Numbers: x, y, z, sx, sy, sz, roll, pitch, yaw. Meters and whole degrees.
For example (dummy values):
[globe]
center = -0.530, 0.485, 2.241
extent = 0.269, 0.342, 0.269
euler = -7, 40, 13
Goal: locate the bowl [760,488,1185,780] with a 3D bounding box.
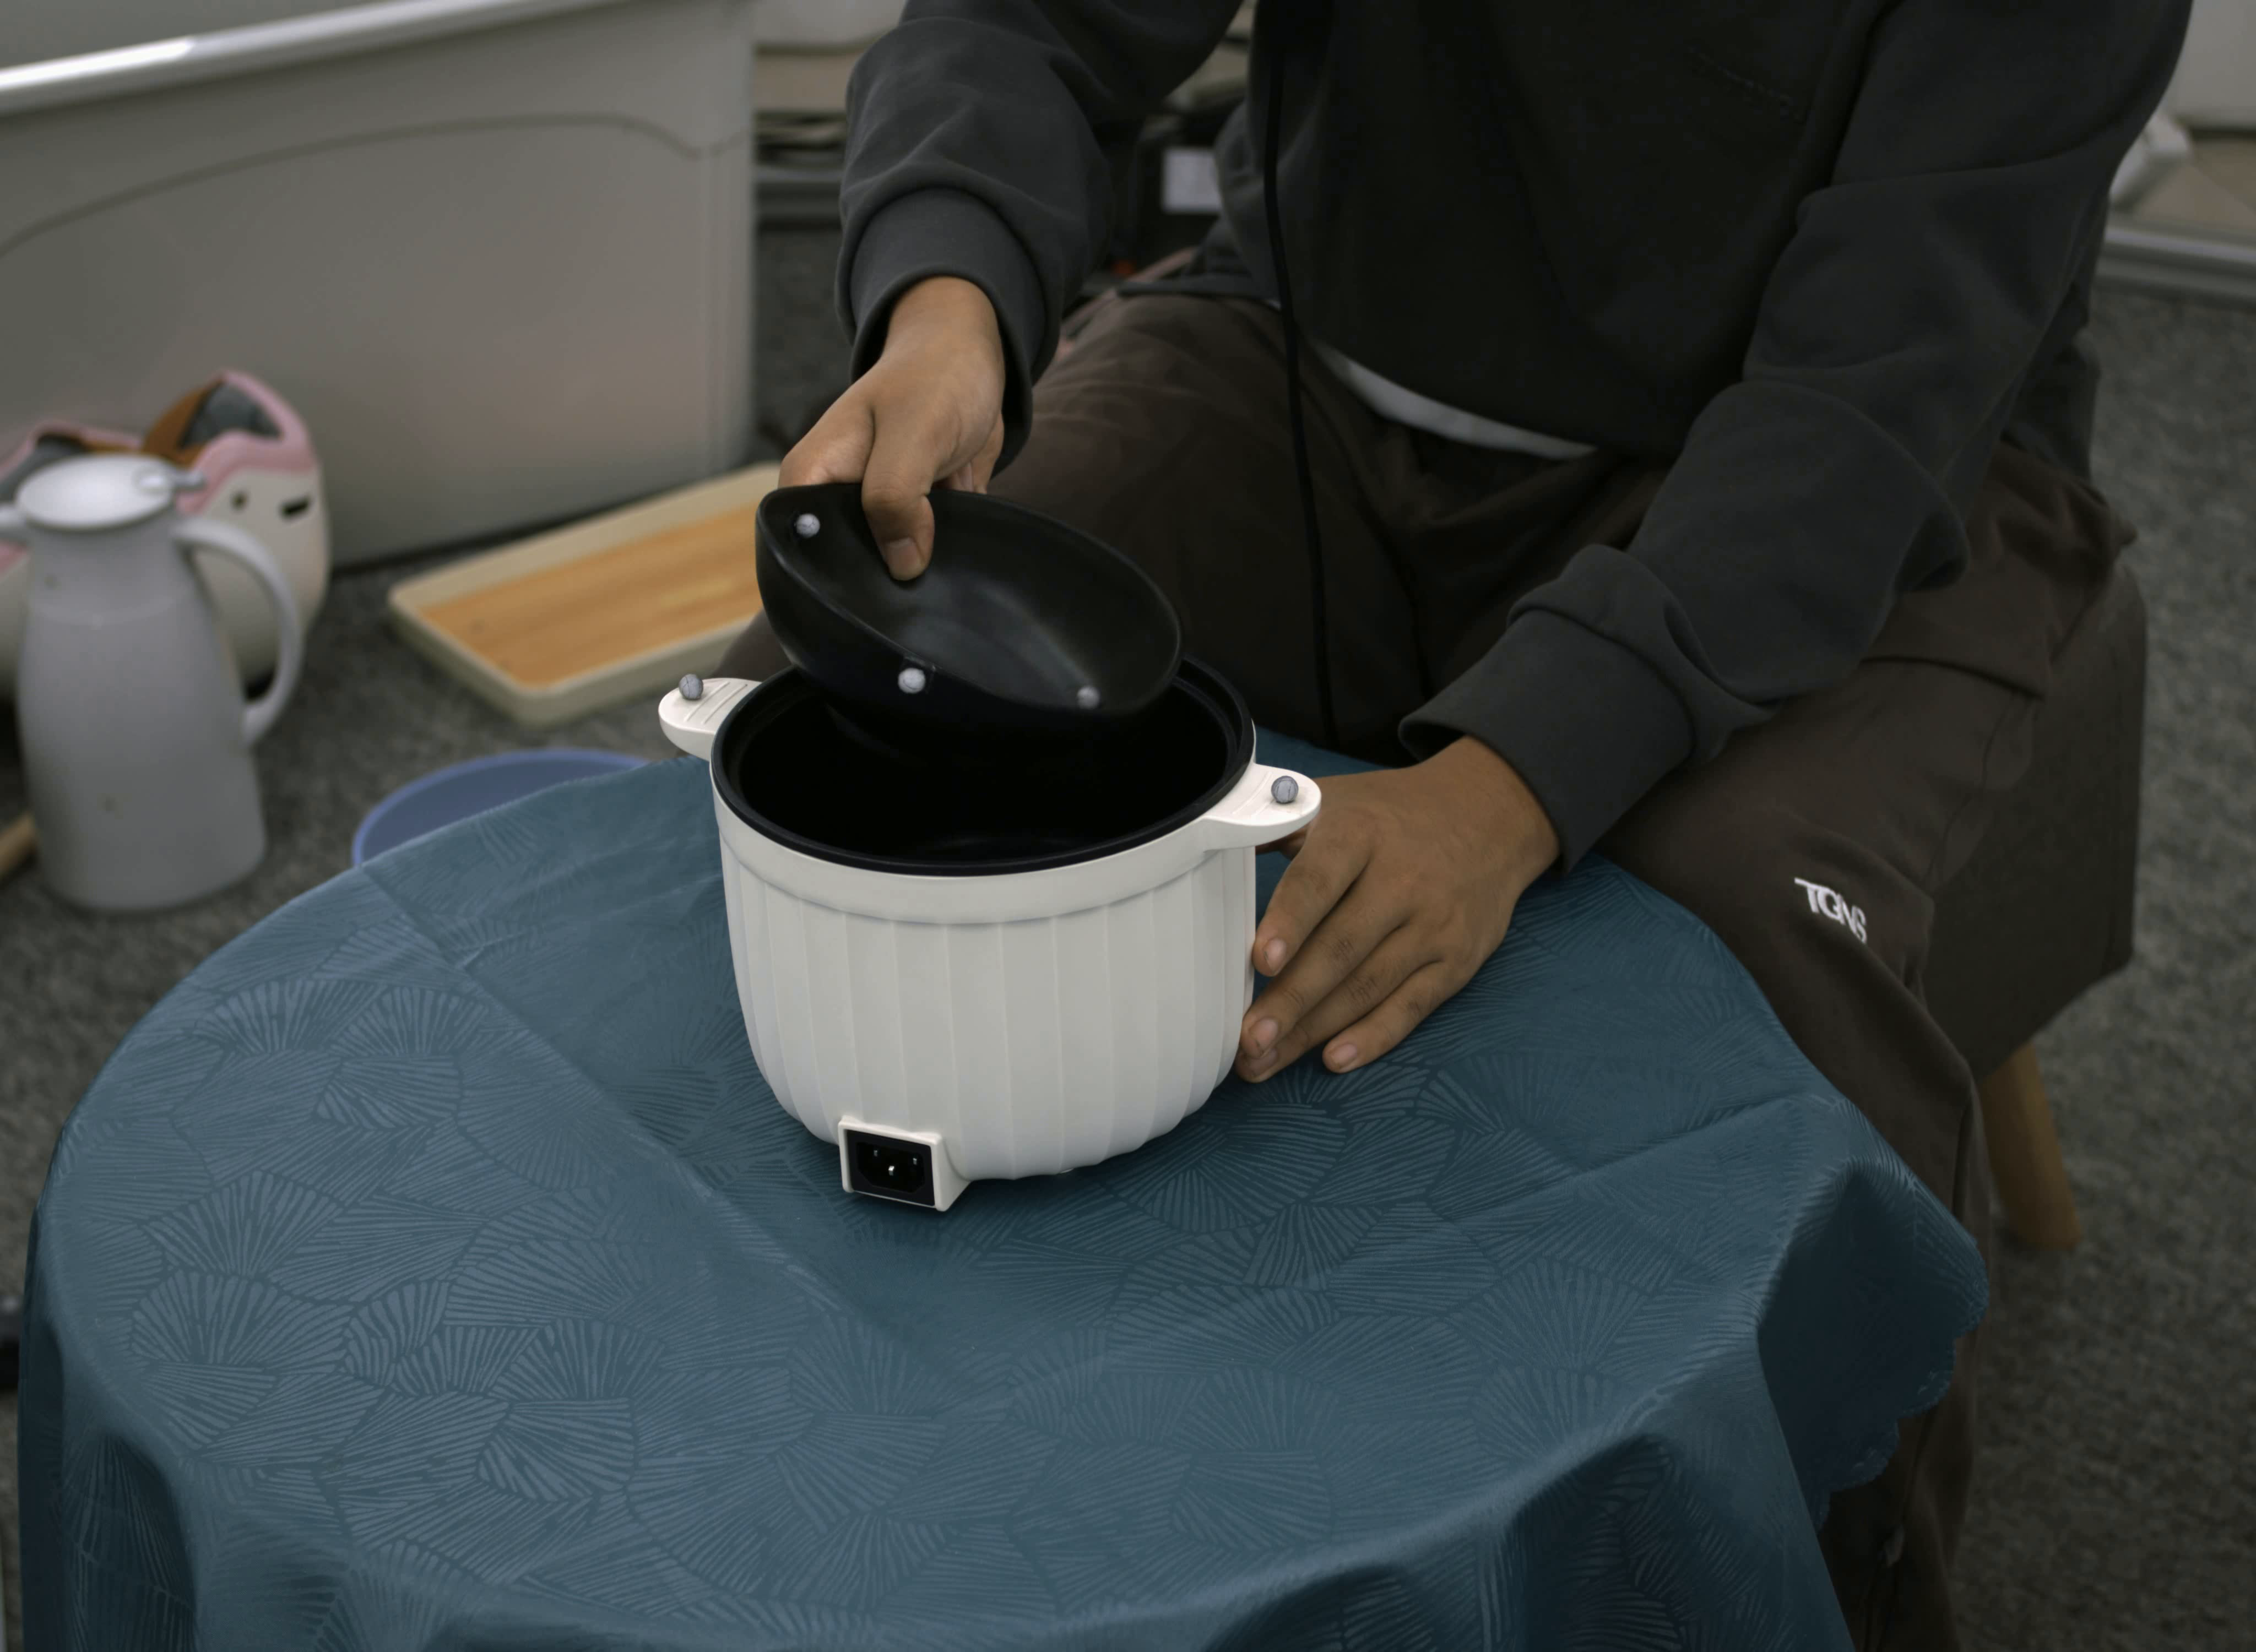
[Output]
[bowl]
center = -0.061, -0.059, 1.871
extent = 0.138, 0.066, 0.171
euler = -1, 31, -37

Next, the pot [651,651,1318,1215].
[pot]
center = -0.045, 0.027, 1.903
extent = 0.239, 0.141, 0.194
euler = 10, 33, 21
